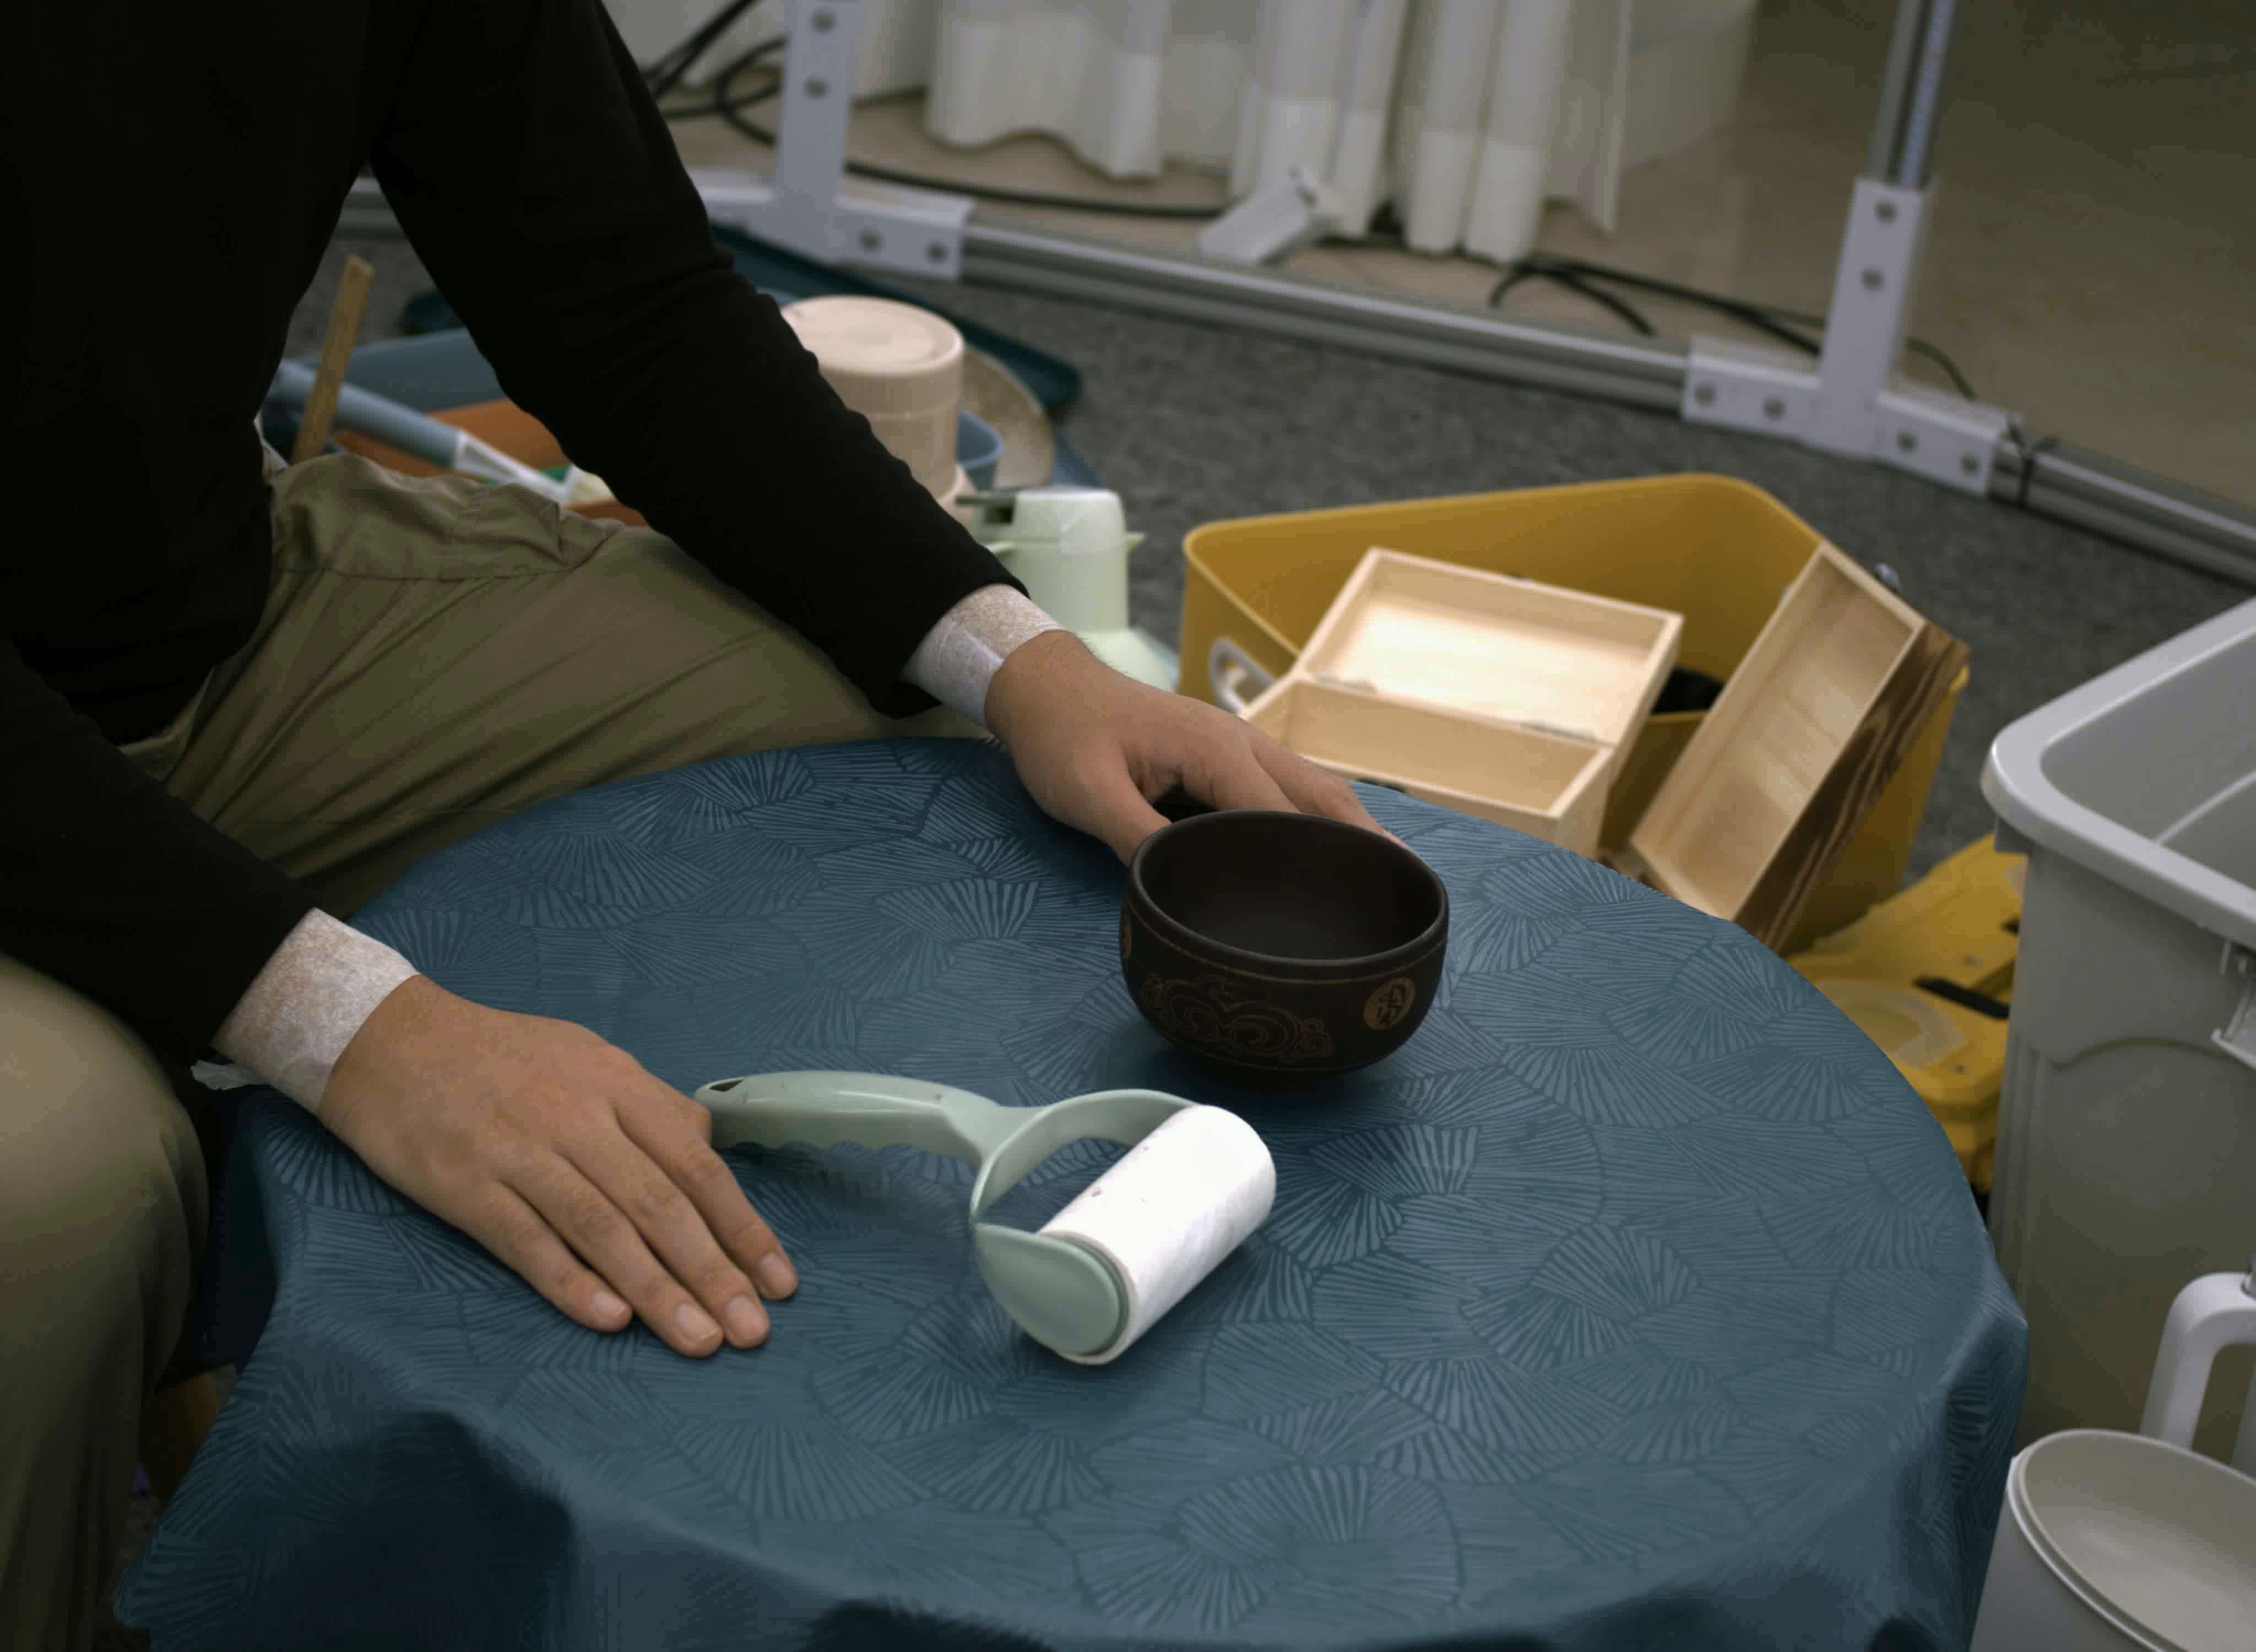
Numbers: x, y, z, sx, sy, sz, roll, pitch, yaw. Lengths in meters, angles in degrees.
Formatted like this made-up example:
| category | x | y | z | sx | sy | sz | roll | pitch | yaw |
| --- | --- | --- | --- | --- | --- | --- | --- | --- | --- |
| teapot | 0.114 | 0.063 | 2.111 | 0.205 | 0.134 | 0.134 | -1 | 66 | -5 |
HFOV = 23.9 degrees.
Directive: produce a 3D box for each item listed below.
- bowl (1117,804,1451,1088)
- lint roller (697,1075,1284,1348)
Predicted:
| category | x | y | z | sx | sy | sz | roll | pitch | yaw |
| --- | --- | --- | --- | --- | --- | --- | --- | --- | --- |
| bowl | 0.053 | 0.049 | 1.881 | 0.117 | 0.069 | 0.119 | 4 | 27 | -2 |
| lint roller | -0.055 | 0.109 | 1.769 | 0.198 | 0.048 | 0.116 | 17 | 29 | 24 |
